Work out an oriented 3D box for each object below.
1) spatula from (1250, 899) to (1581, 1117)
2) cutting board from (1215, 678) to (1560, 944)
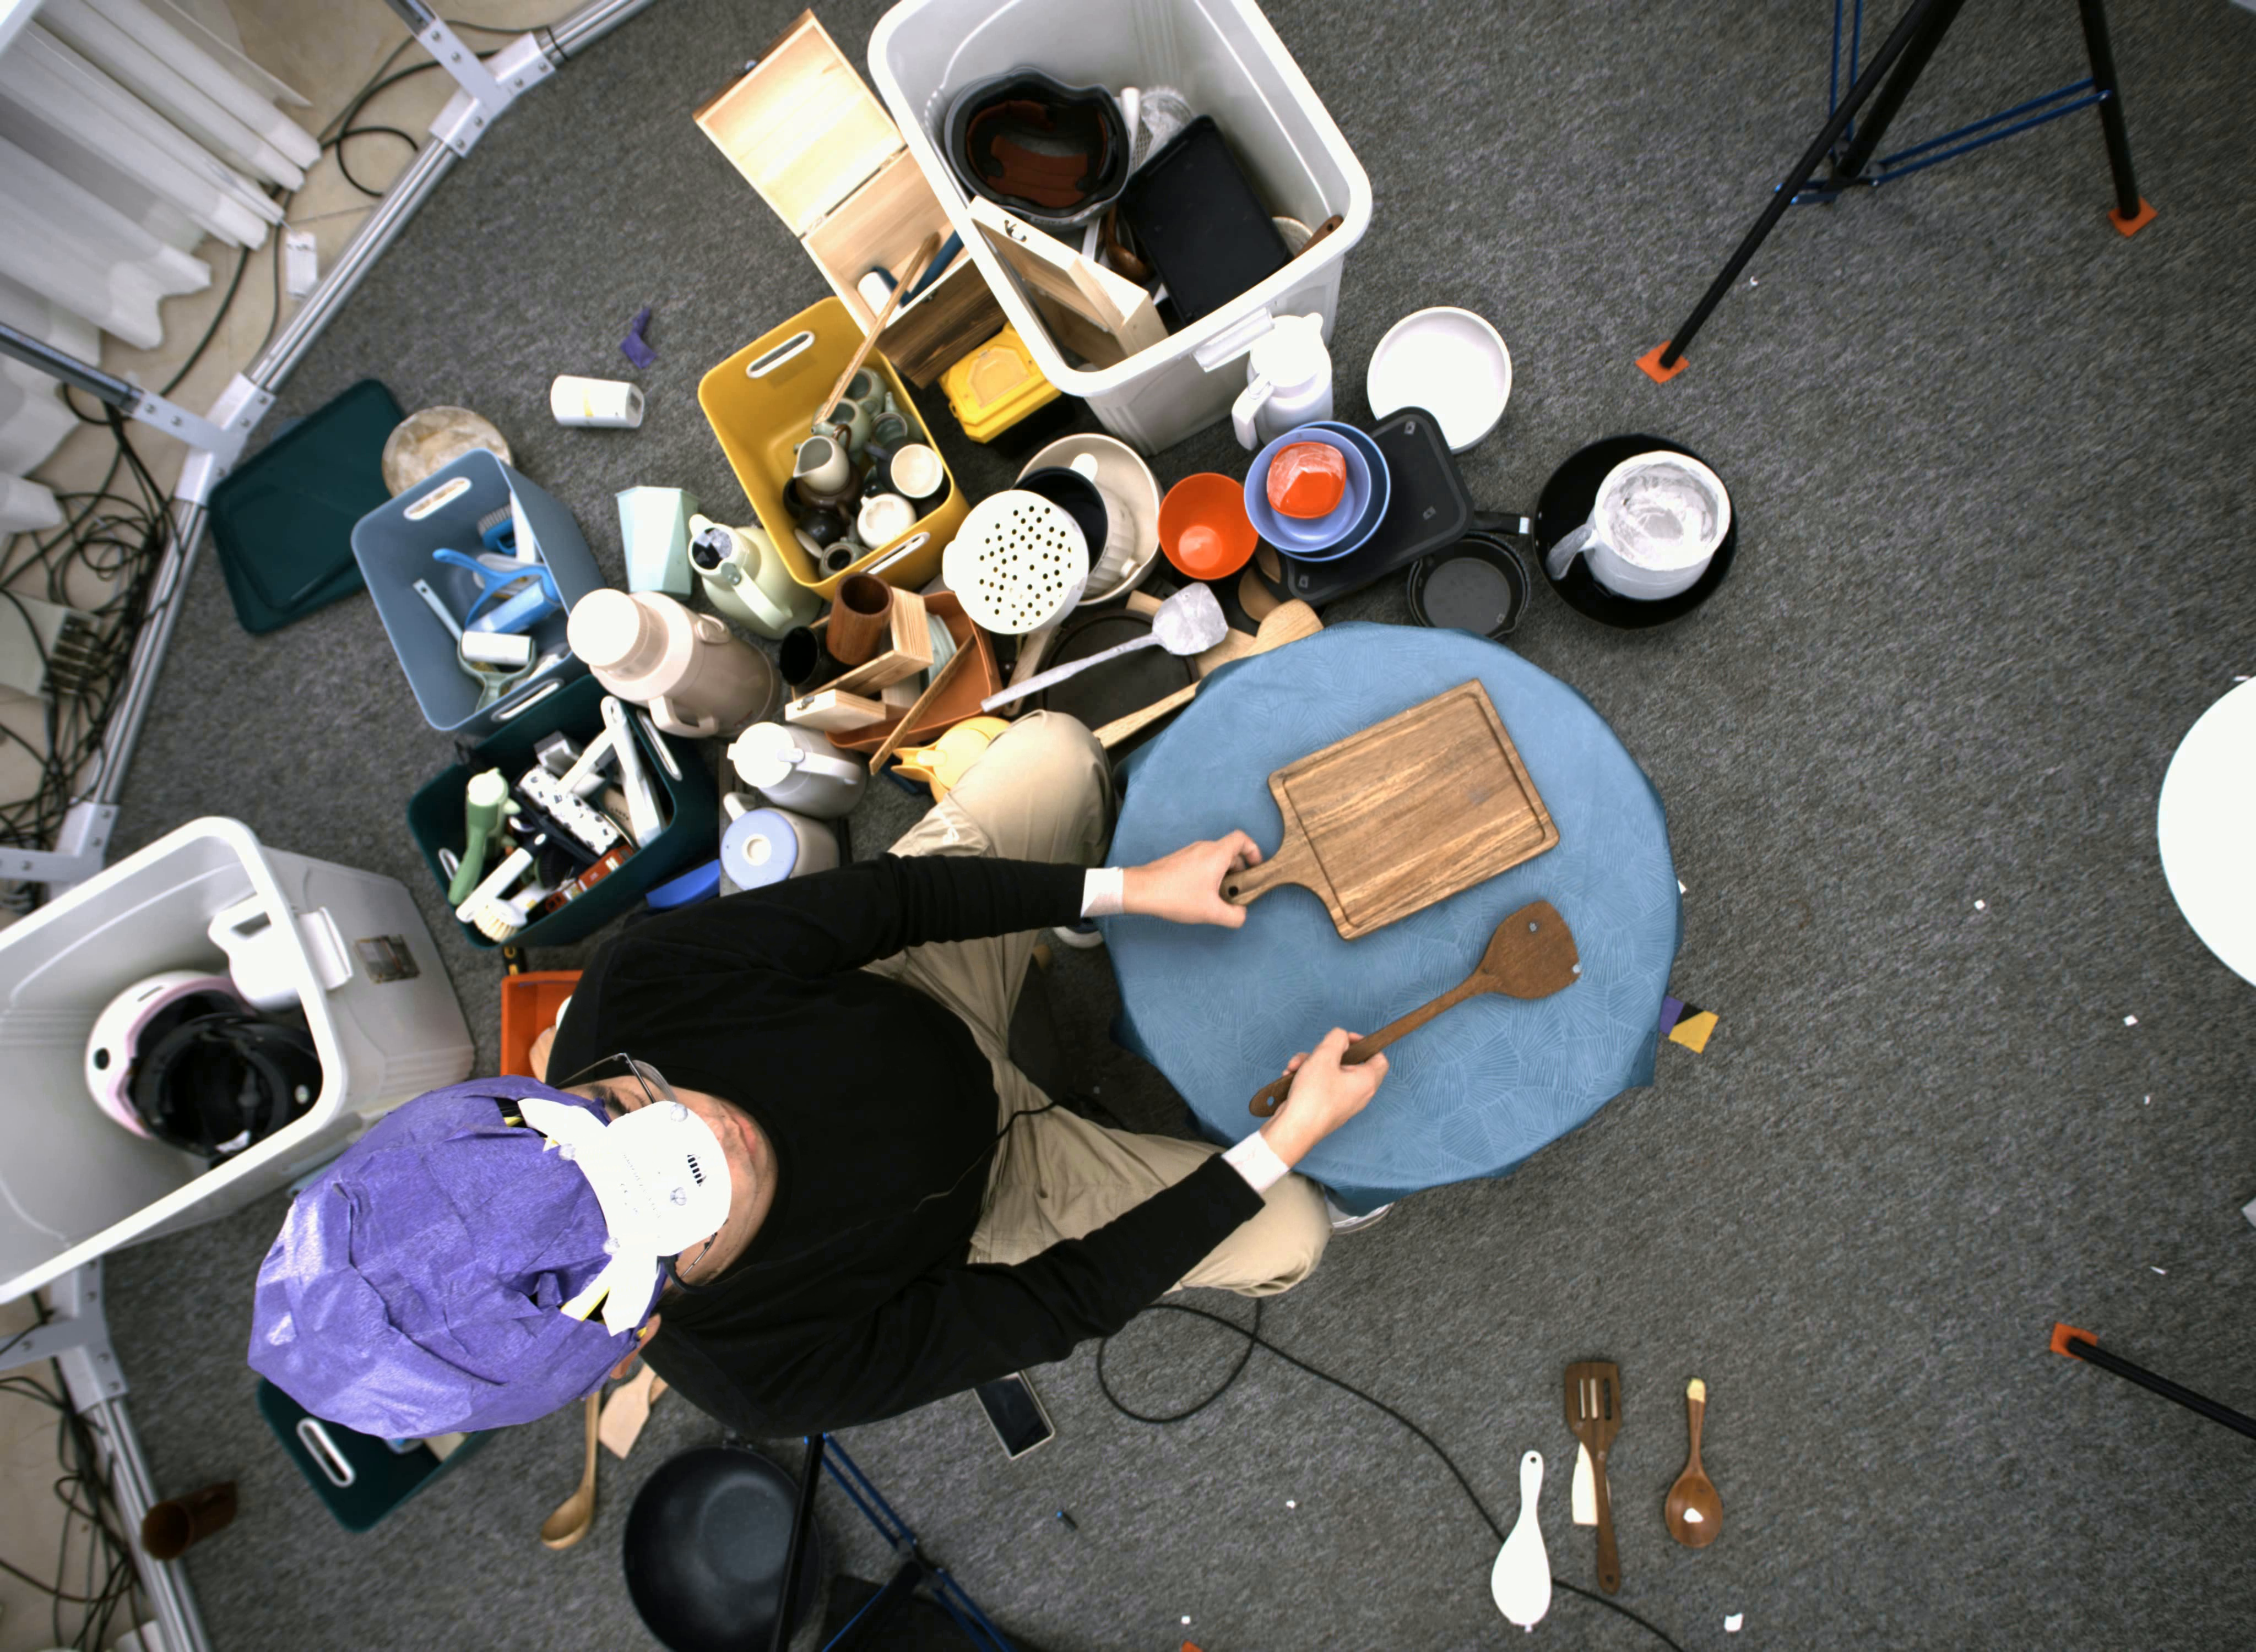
[{"bbox_3d":[0.289,0.191,1.386,0.383,0.016,0.096,-27,92,-11],"label":"spatula"},{"bbox_3d":[0.251,0.003,1.444,0.353,0.023,0.200,-26,82,4],"label":"cutting board"}]
